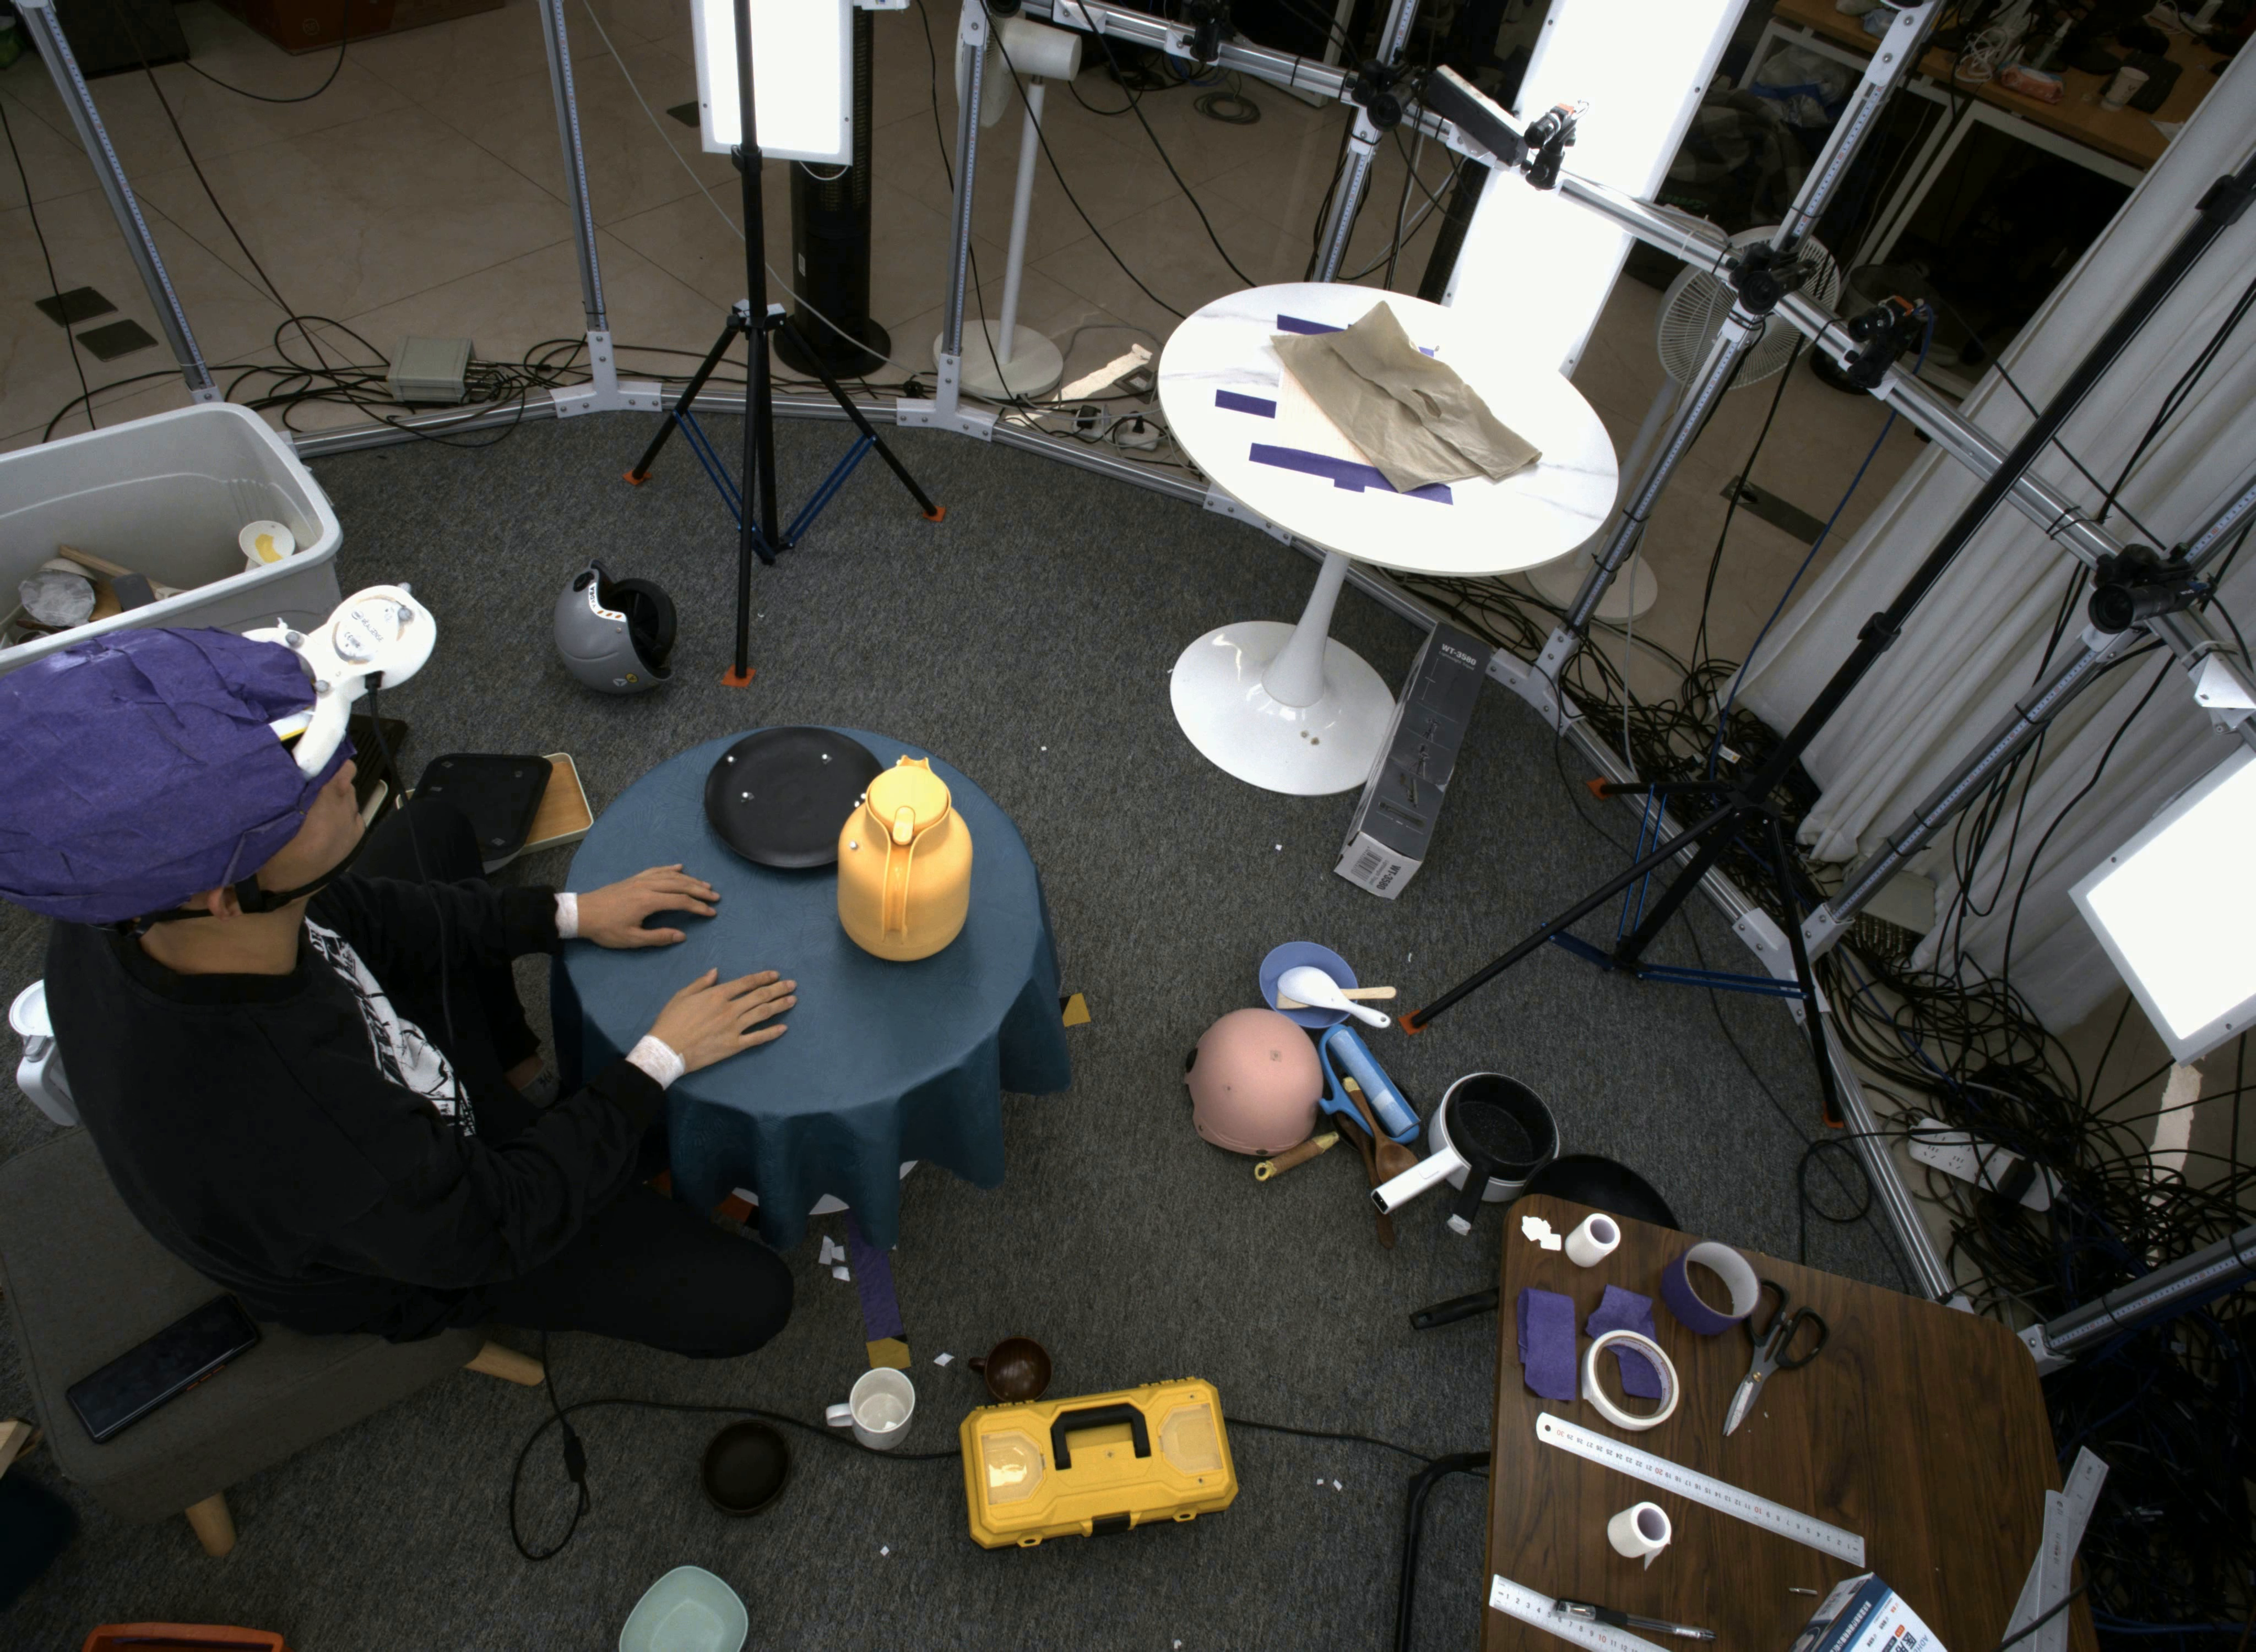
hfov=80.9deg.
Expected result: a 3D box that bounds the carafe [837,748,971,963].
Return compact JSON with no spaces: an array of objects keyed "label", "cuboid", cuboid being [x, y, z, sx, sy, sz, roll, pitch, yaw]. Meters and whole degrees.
[{"label":"carafe","cuboid":[-0.272,0.049,1.554,0.162,0.267,0.199,6,50,-4]}]

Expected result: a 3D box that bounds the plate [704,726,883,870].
[{"label":"plate","cuboid":[-0.440,-0.037,1.730,0.244,0.024,0.240,8,52,-9]}]
